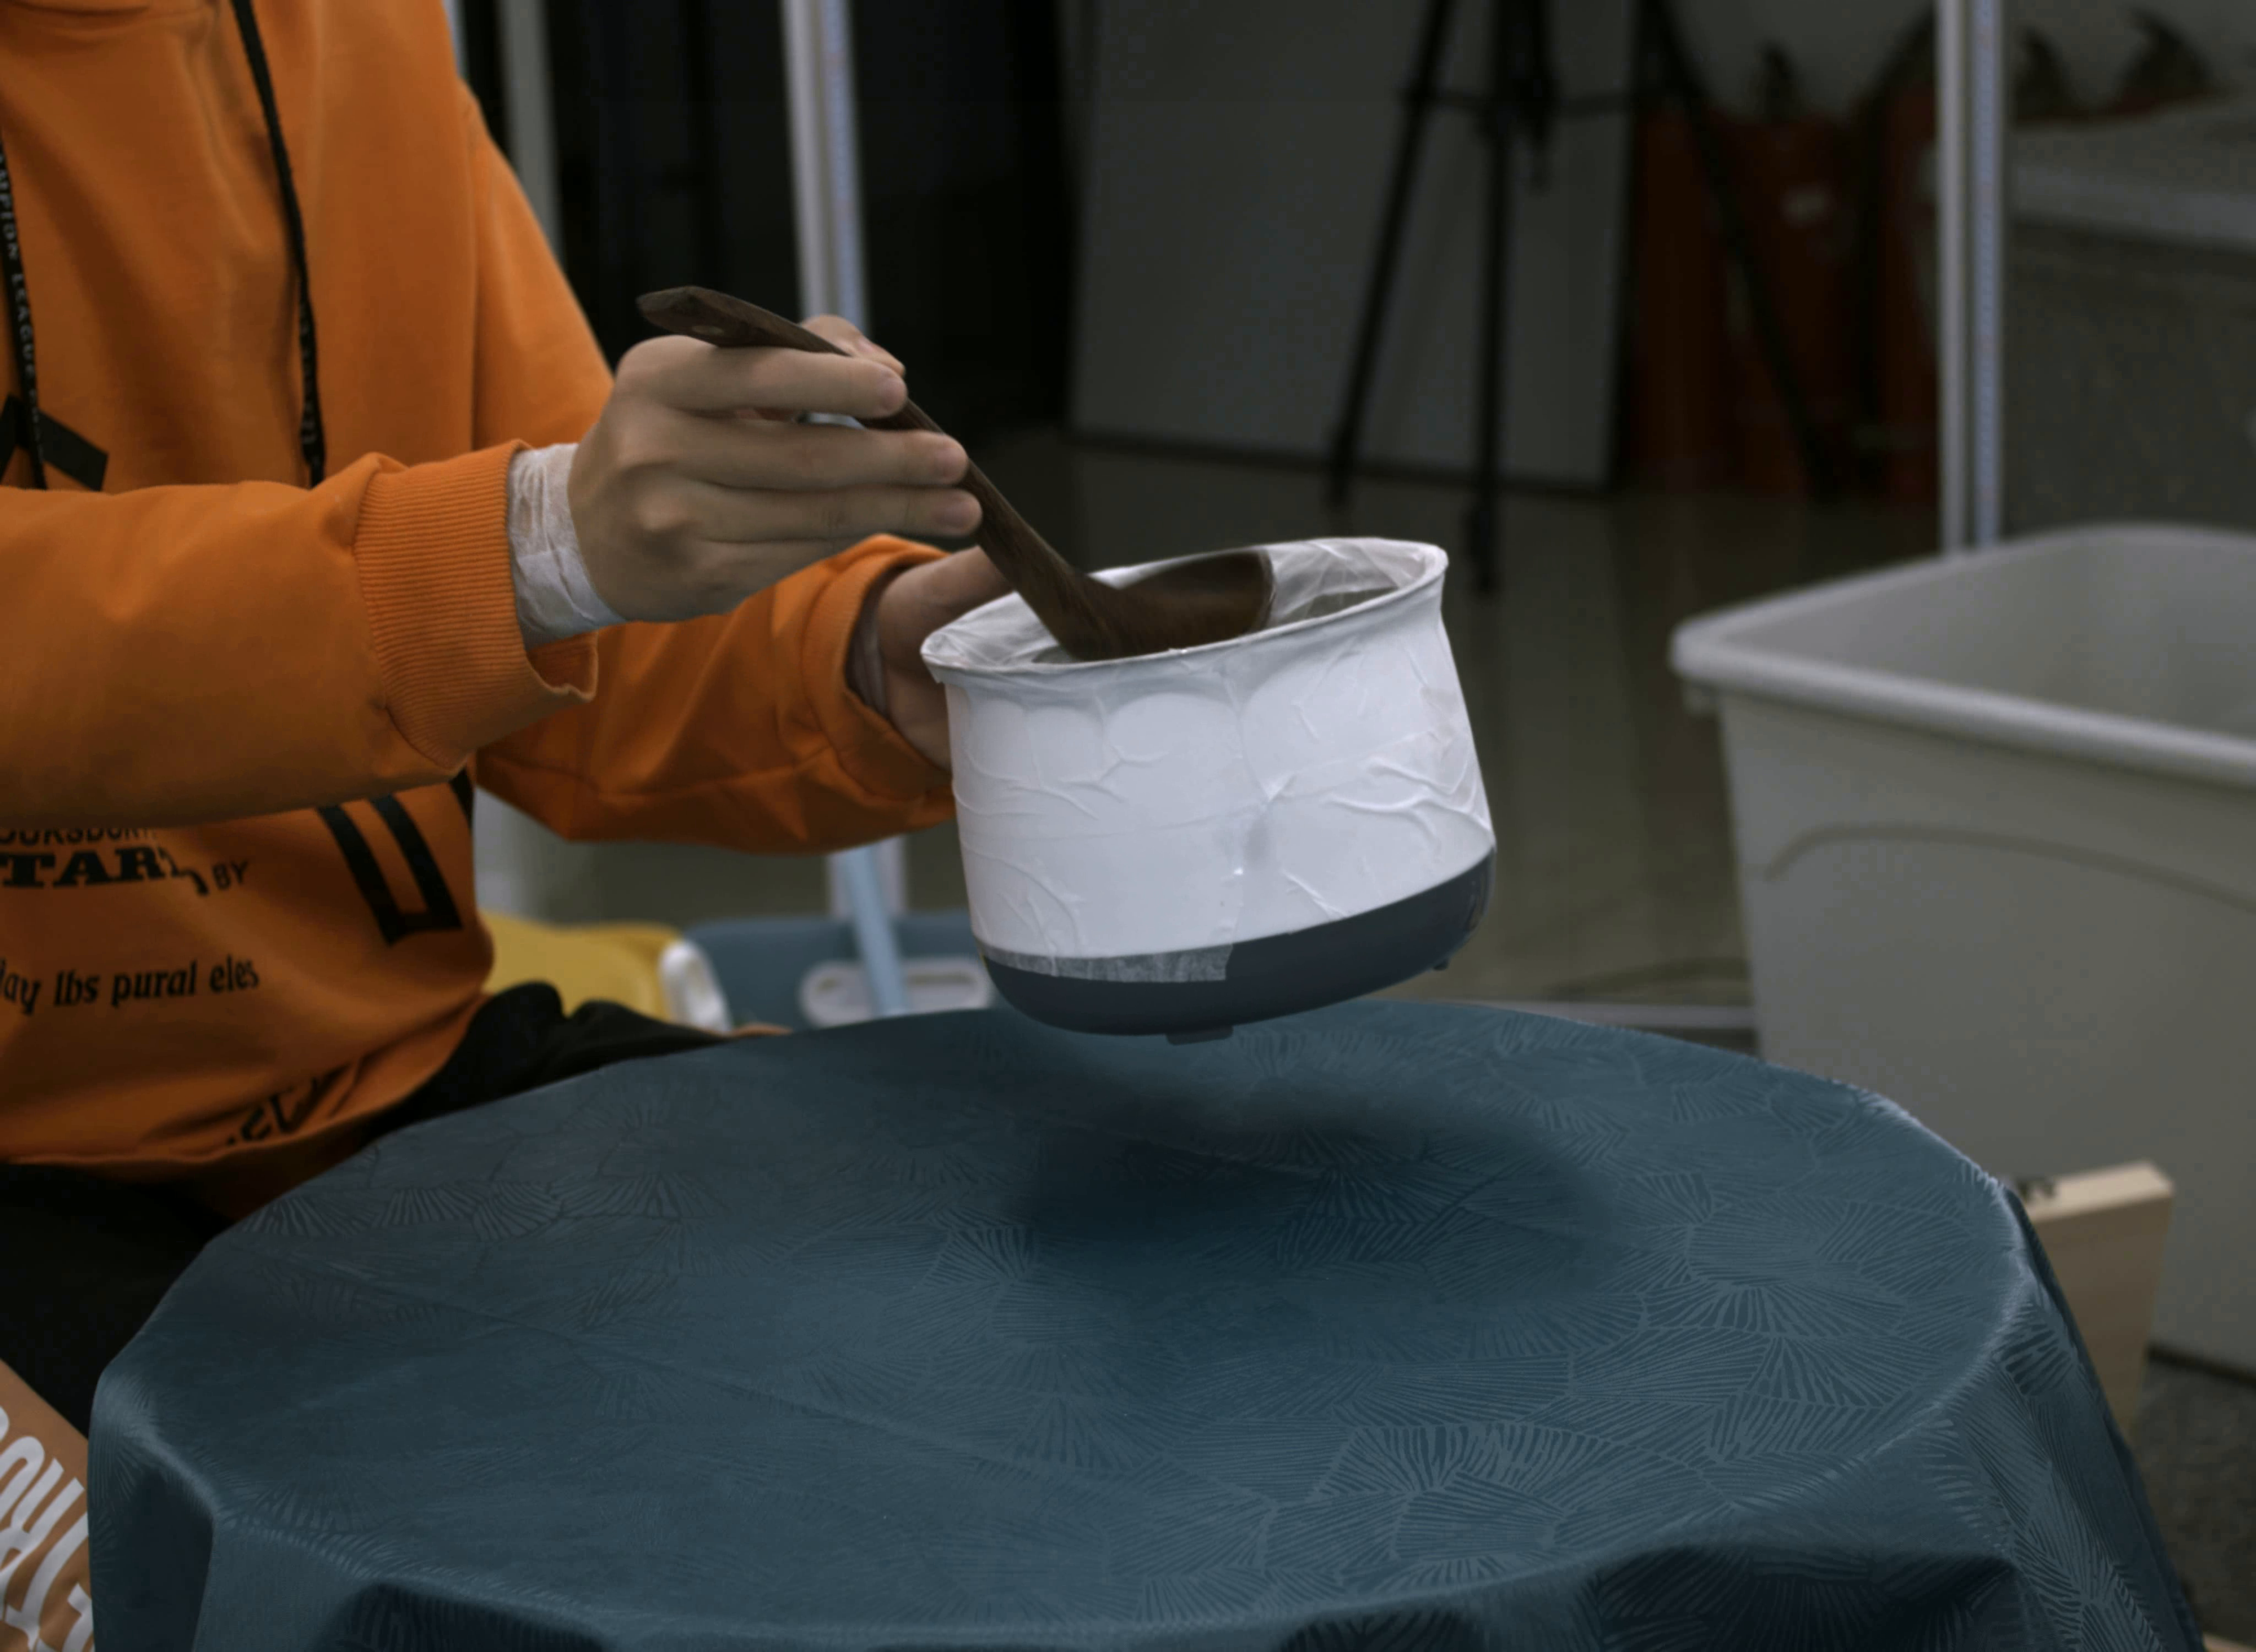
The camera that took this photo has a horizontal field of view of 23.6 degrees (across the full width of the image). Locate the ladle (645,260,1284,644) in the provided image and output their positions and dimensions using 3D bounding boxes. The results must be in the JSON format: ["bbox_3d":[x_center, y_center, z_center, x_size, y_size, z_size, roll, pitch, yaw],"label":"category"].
[{"bbox_3d":[-0.049,-0.124,1.697,0.076,0.072,0.270,-11,-37,38],"label":"ladle"}]

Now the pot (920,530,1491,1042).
[{"bbox_3d":[0.014,-0.017,1.800,0.175,0.138,0.236,-16,12,-28],"label":"pot"}]
